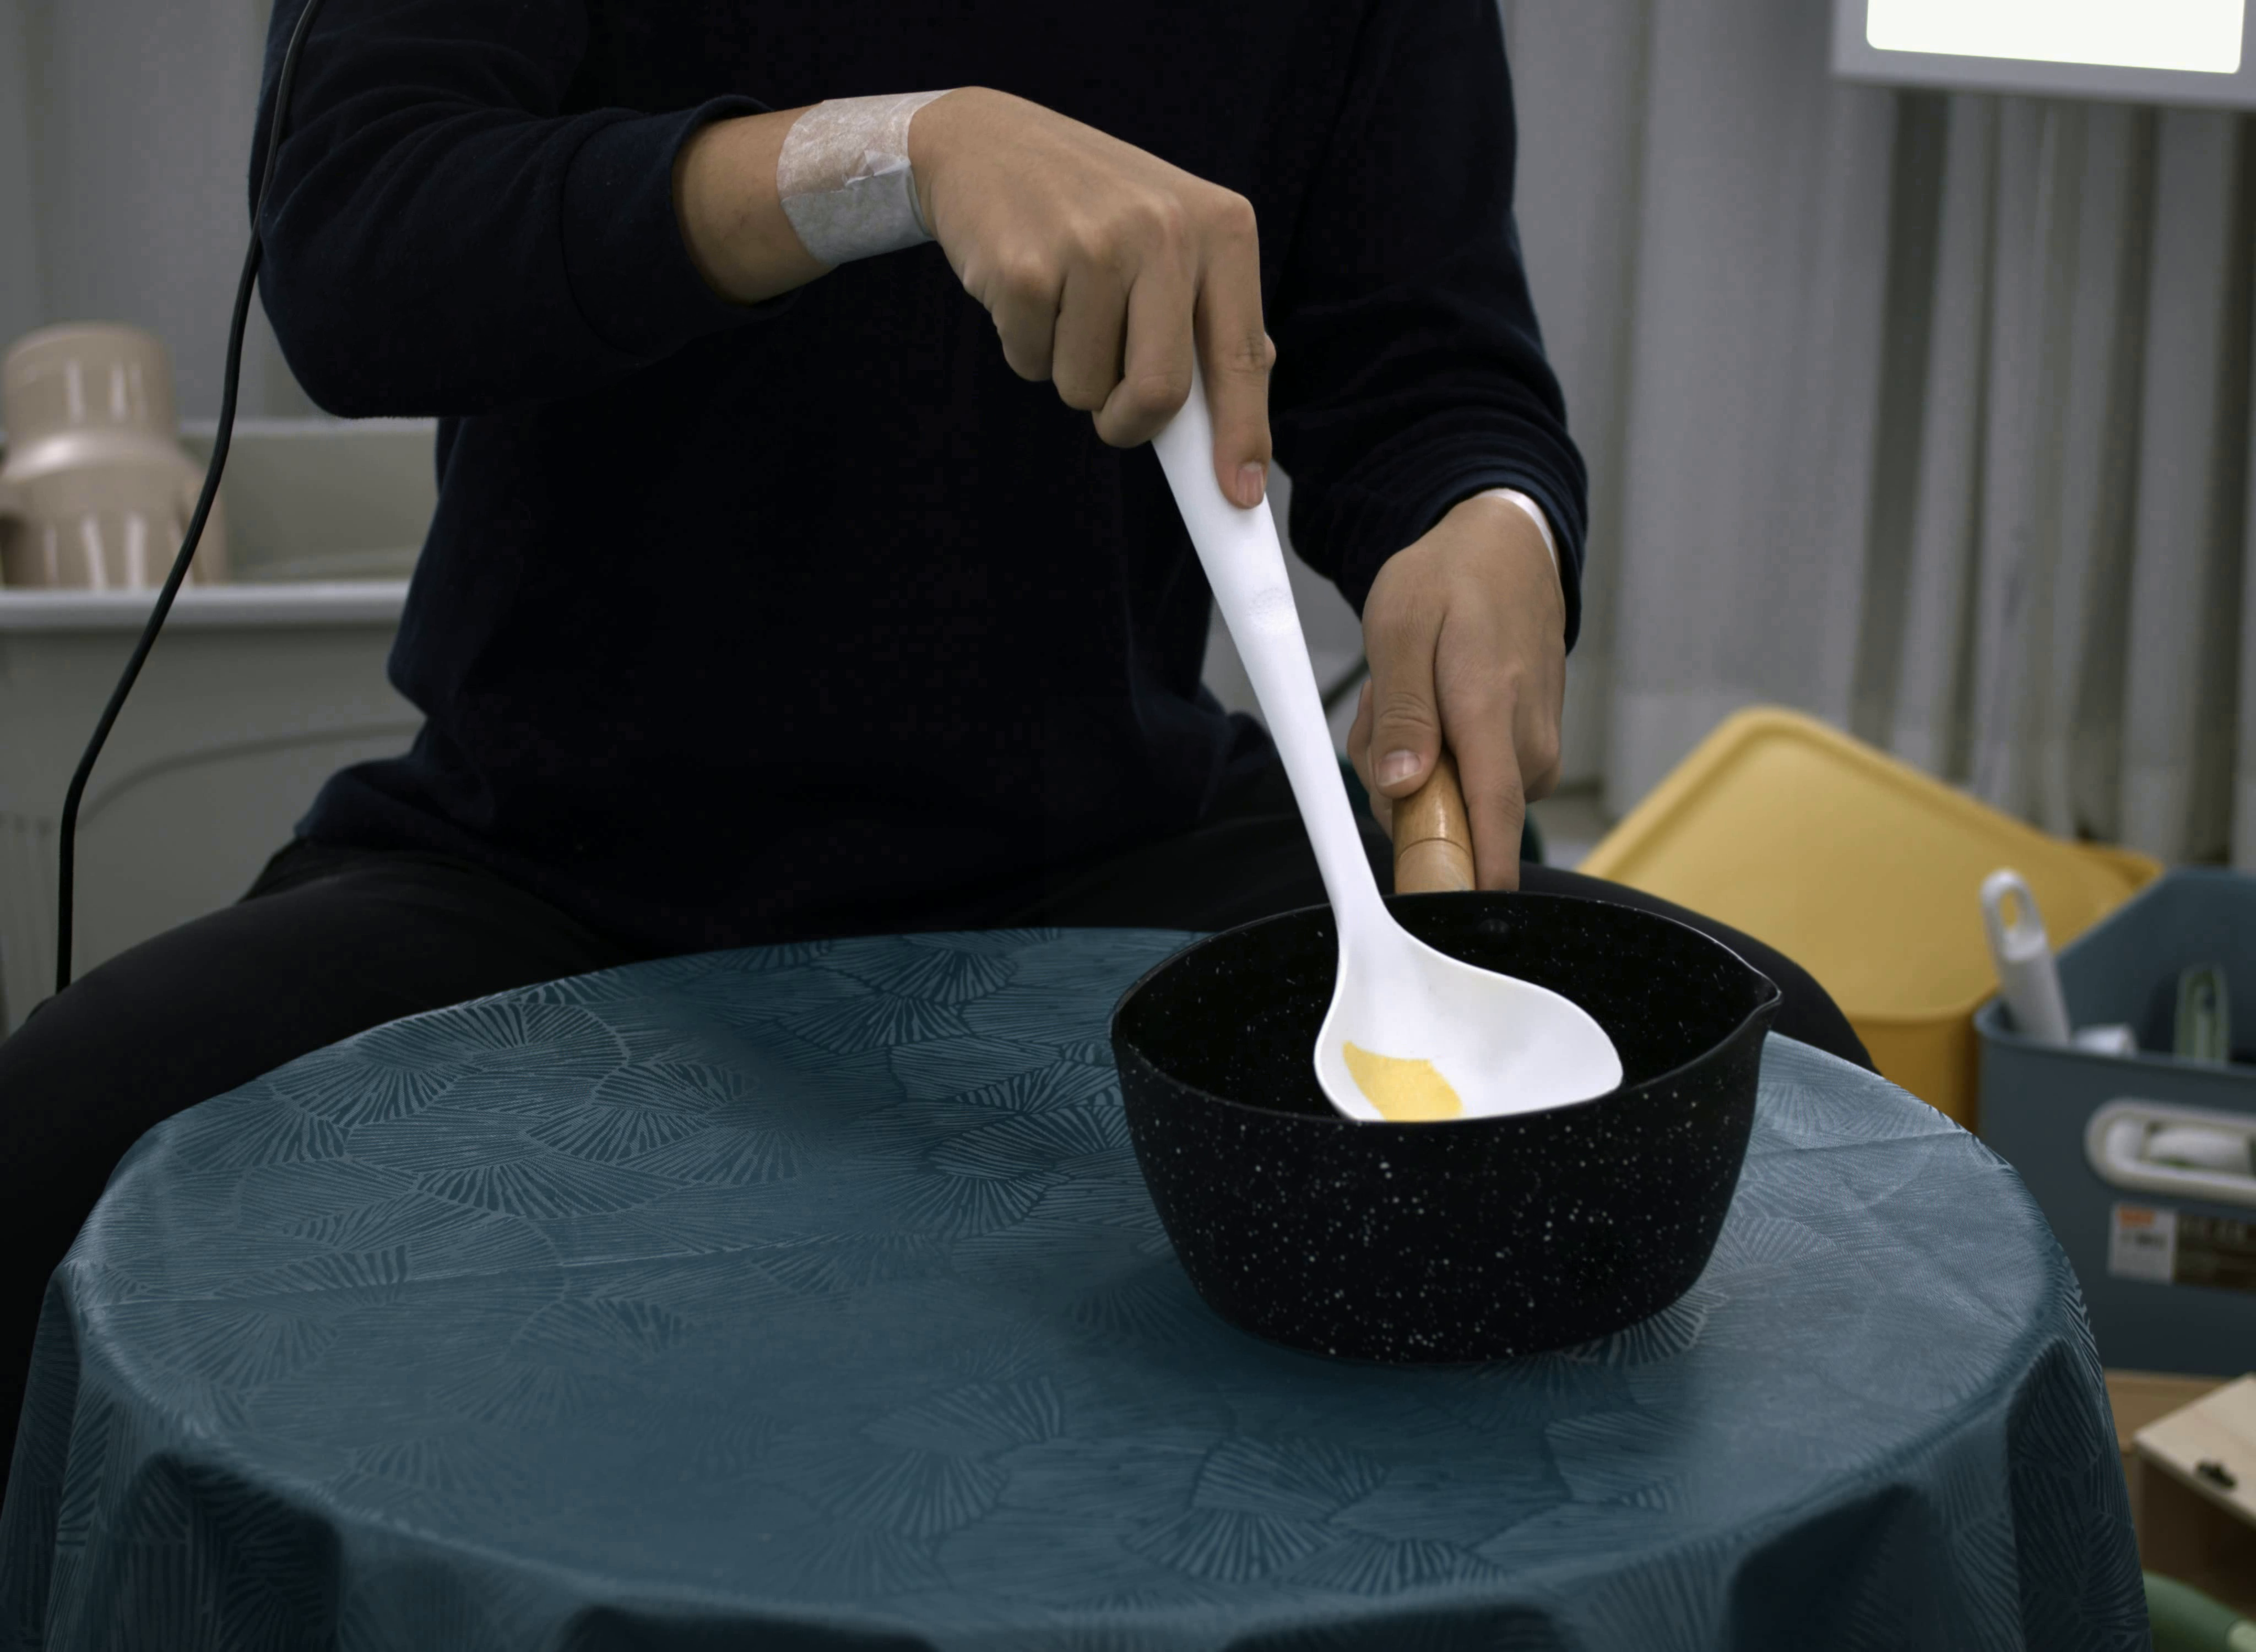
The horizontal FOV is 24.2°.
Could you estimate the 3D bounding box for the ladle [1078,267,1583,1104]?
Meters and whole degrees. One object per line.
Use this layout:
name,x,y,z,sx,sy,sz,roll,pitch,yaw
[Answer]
ladle,0.049,-0.034,1.543,0.090,0.292,0.070,-15,-12,-15

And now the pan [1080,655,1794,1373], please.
pan,0.092,0.052,1.602,0.206,0.109,0.340,-4,21,2
